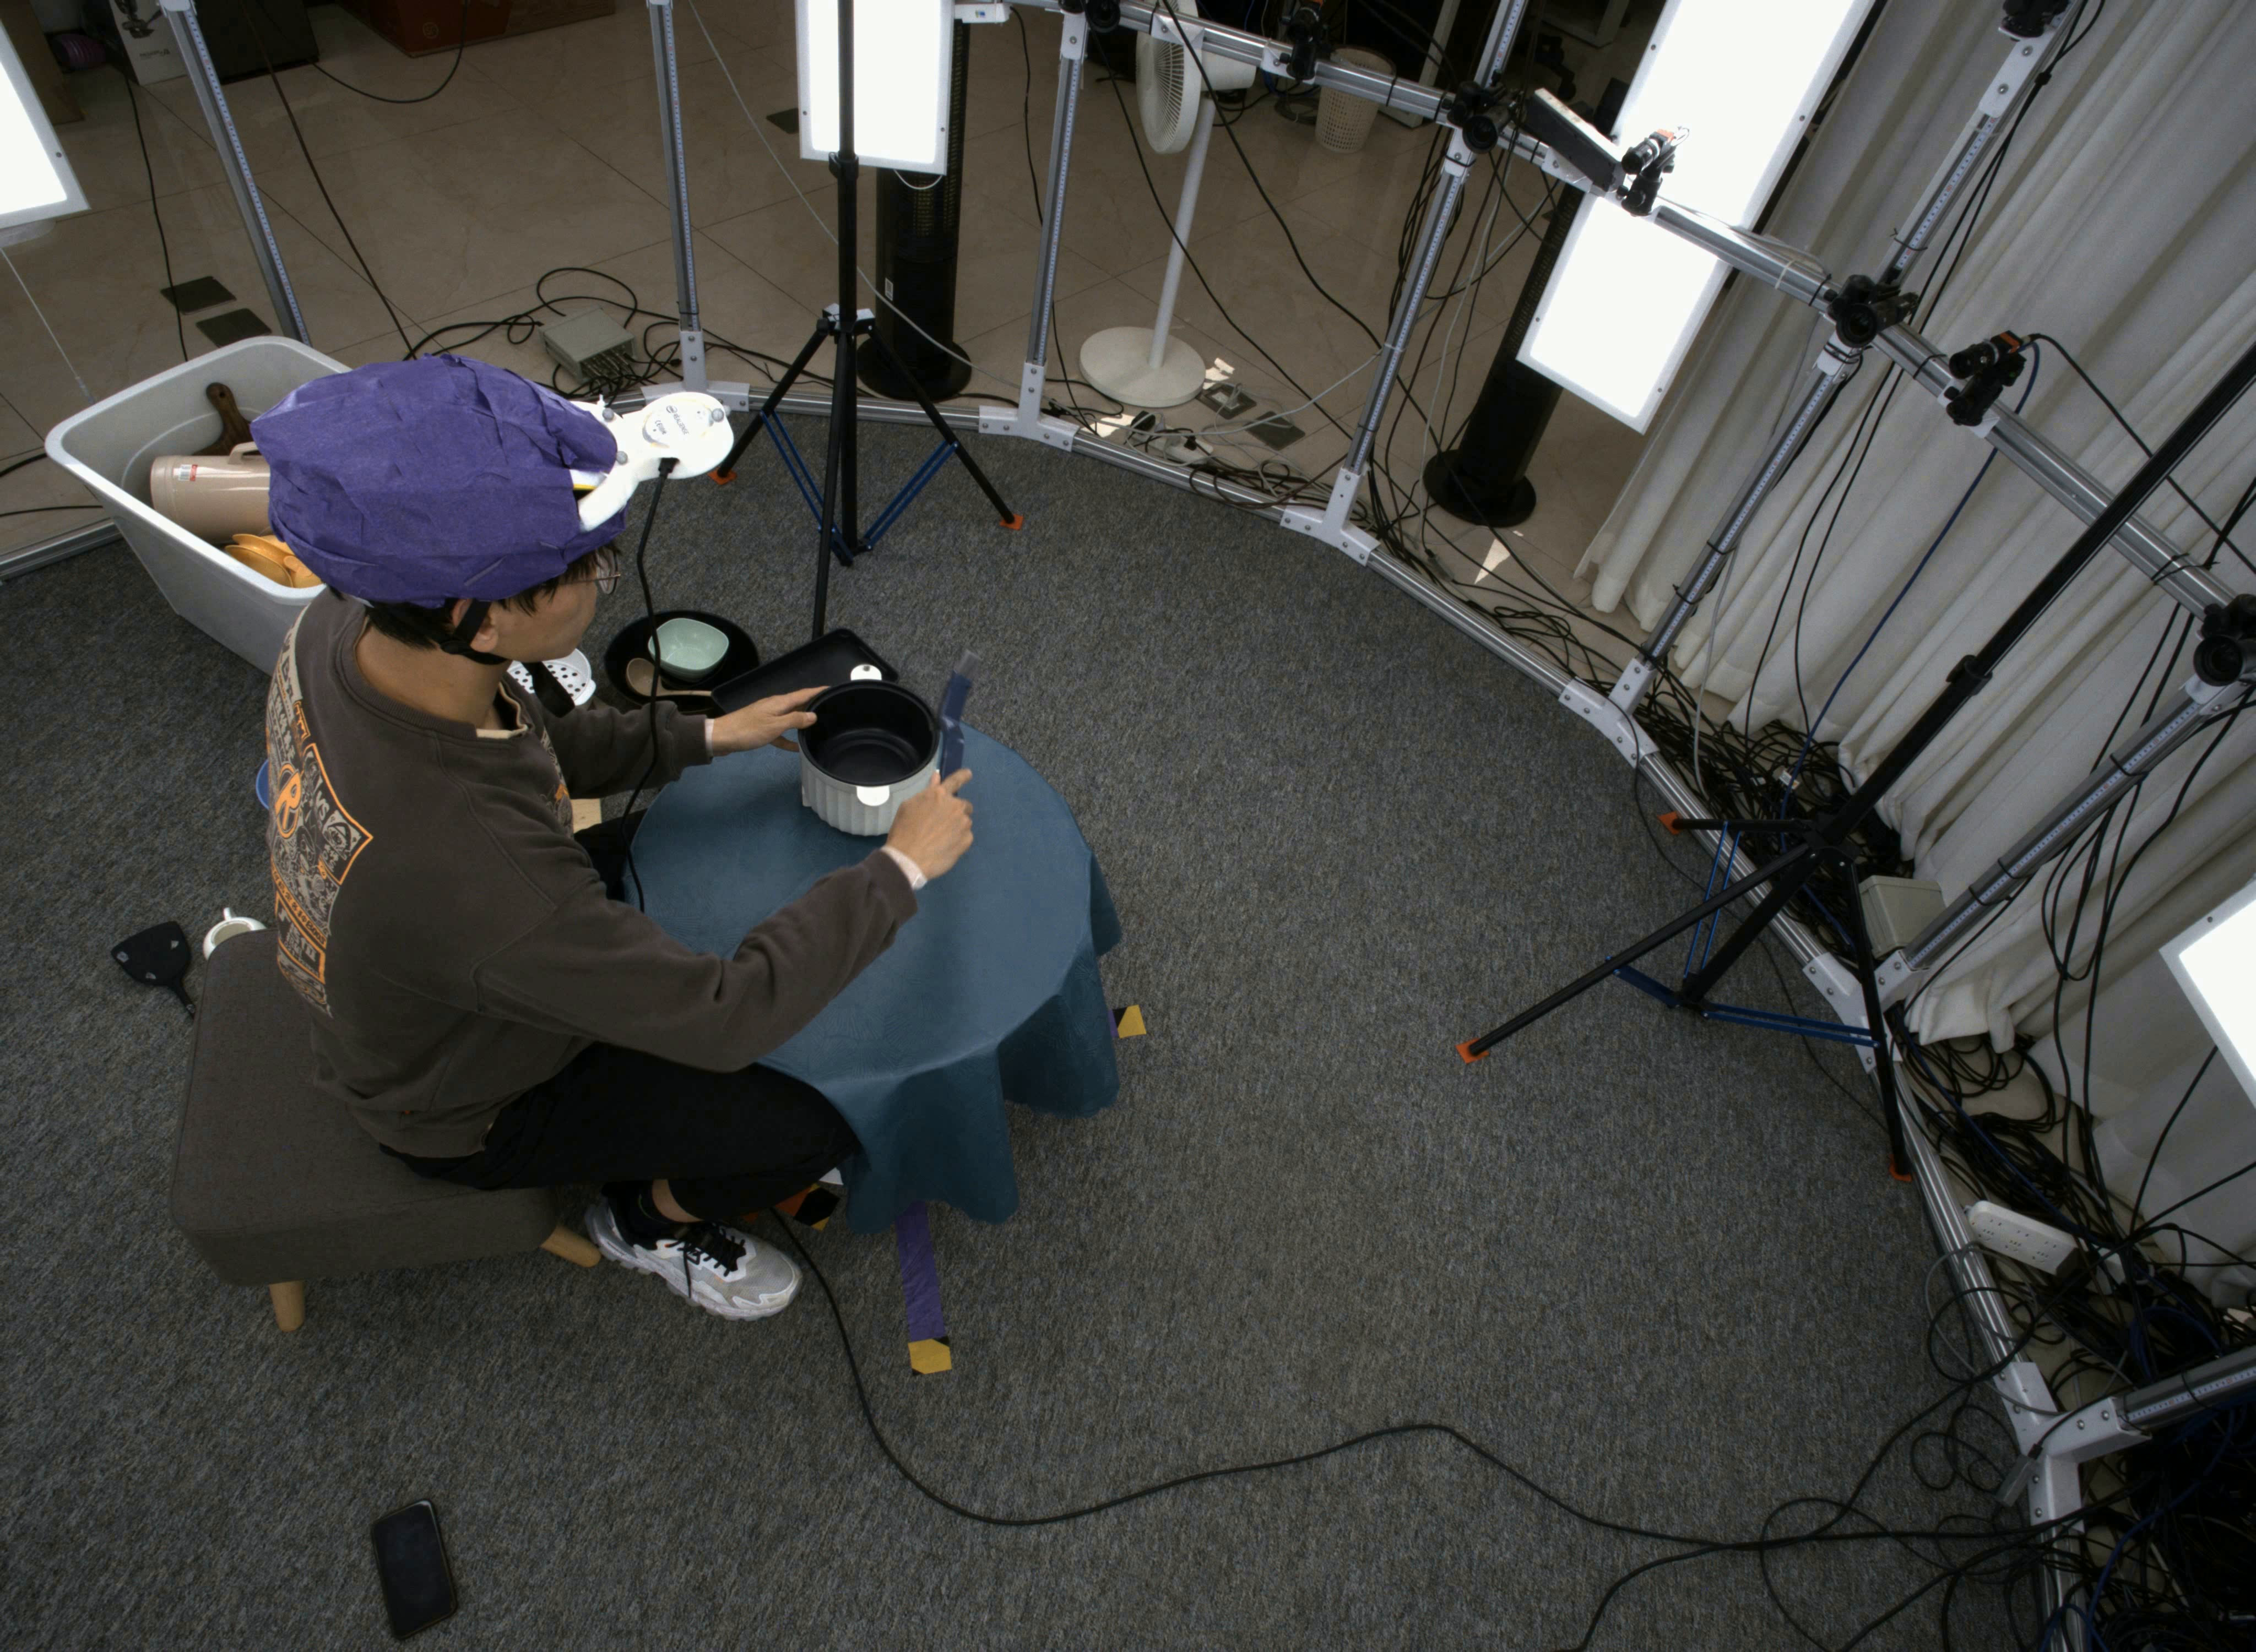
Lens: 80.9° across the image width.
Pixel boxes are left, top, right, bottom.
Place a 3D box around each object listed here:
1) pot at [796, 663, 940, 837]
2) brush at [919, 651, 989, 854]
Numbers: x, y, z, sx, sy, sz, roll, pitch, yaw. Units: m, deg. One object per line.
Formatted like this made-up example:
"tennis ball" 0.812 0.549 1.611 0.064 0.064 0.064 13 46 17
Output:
"pot" -0.340 -0.086 1.732 0.190 0.146 0.235 -5 56 -12
"brush" -0.212 -0.092 1.573 0.034 0.095 0.267 30 40 -33
